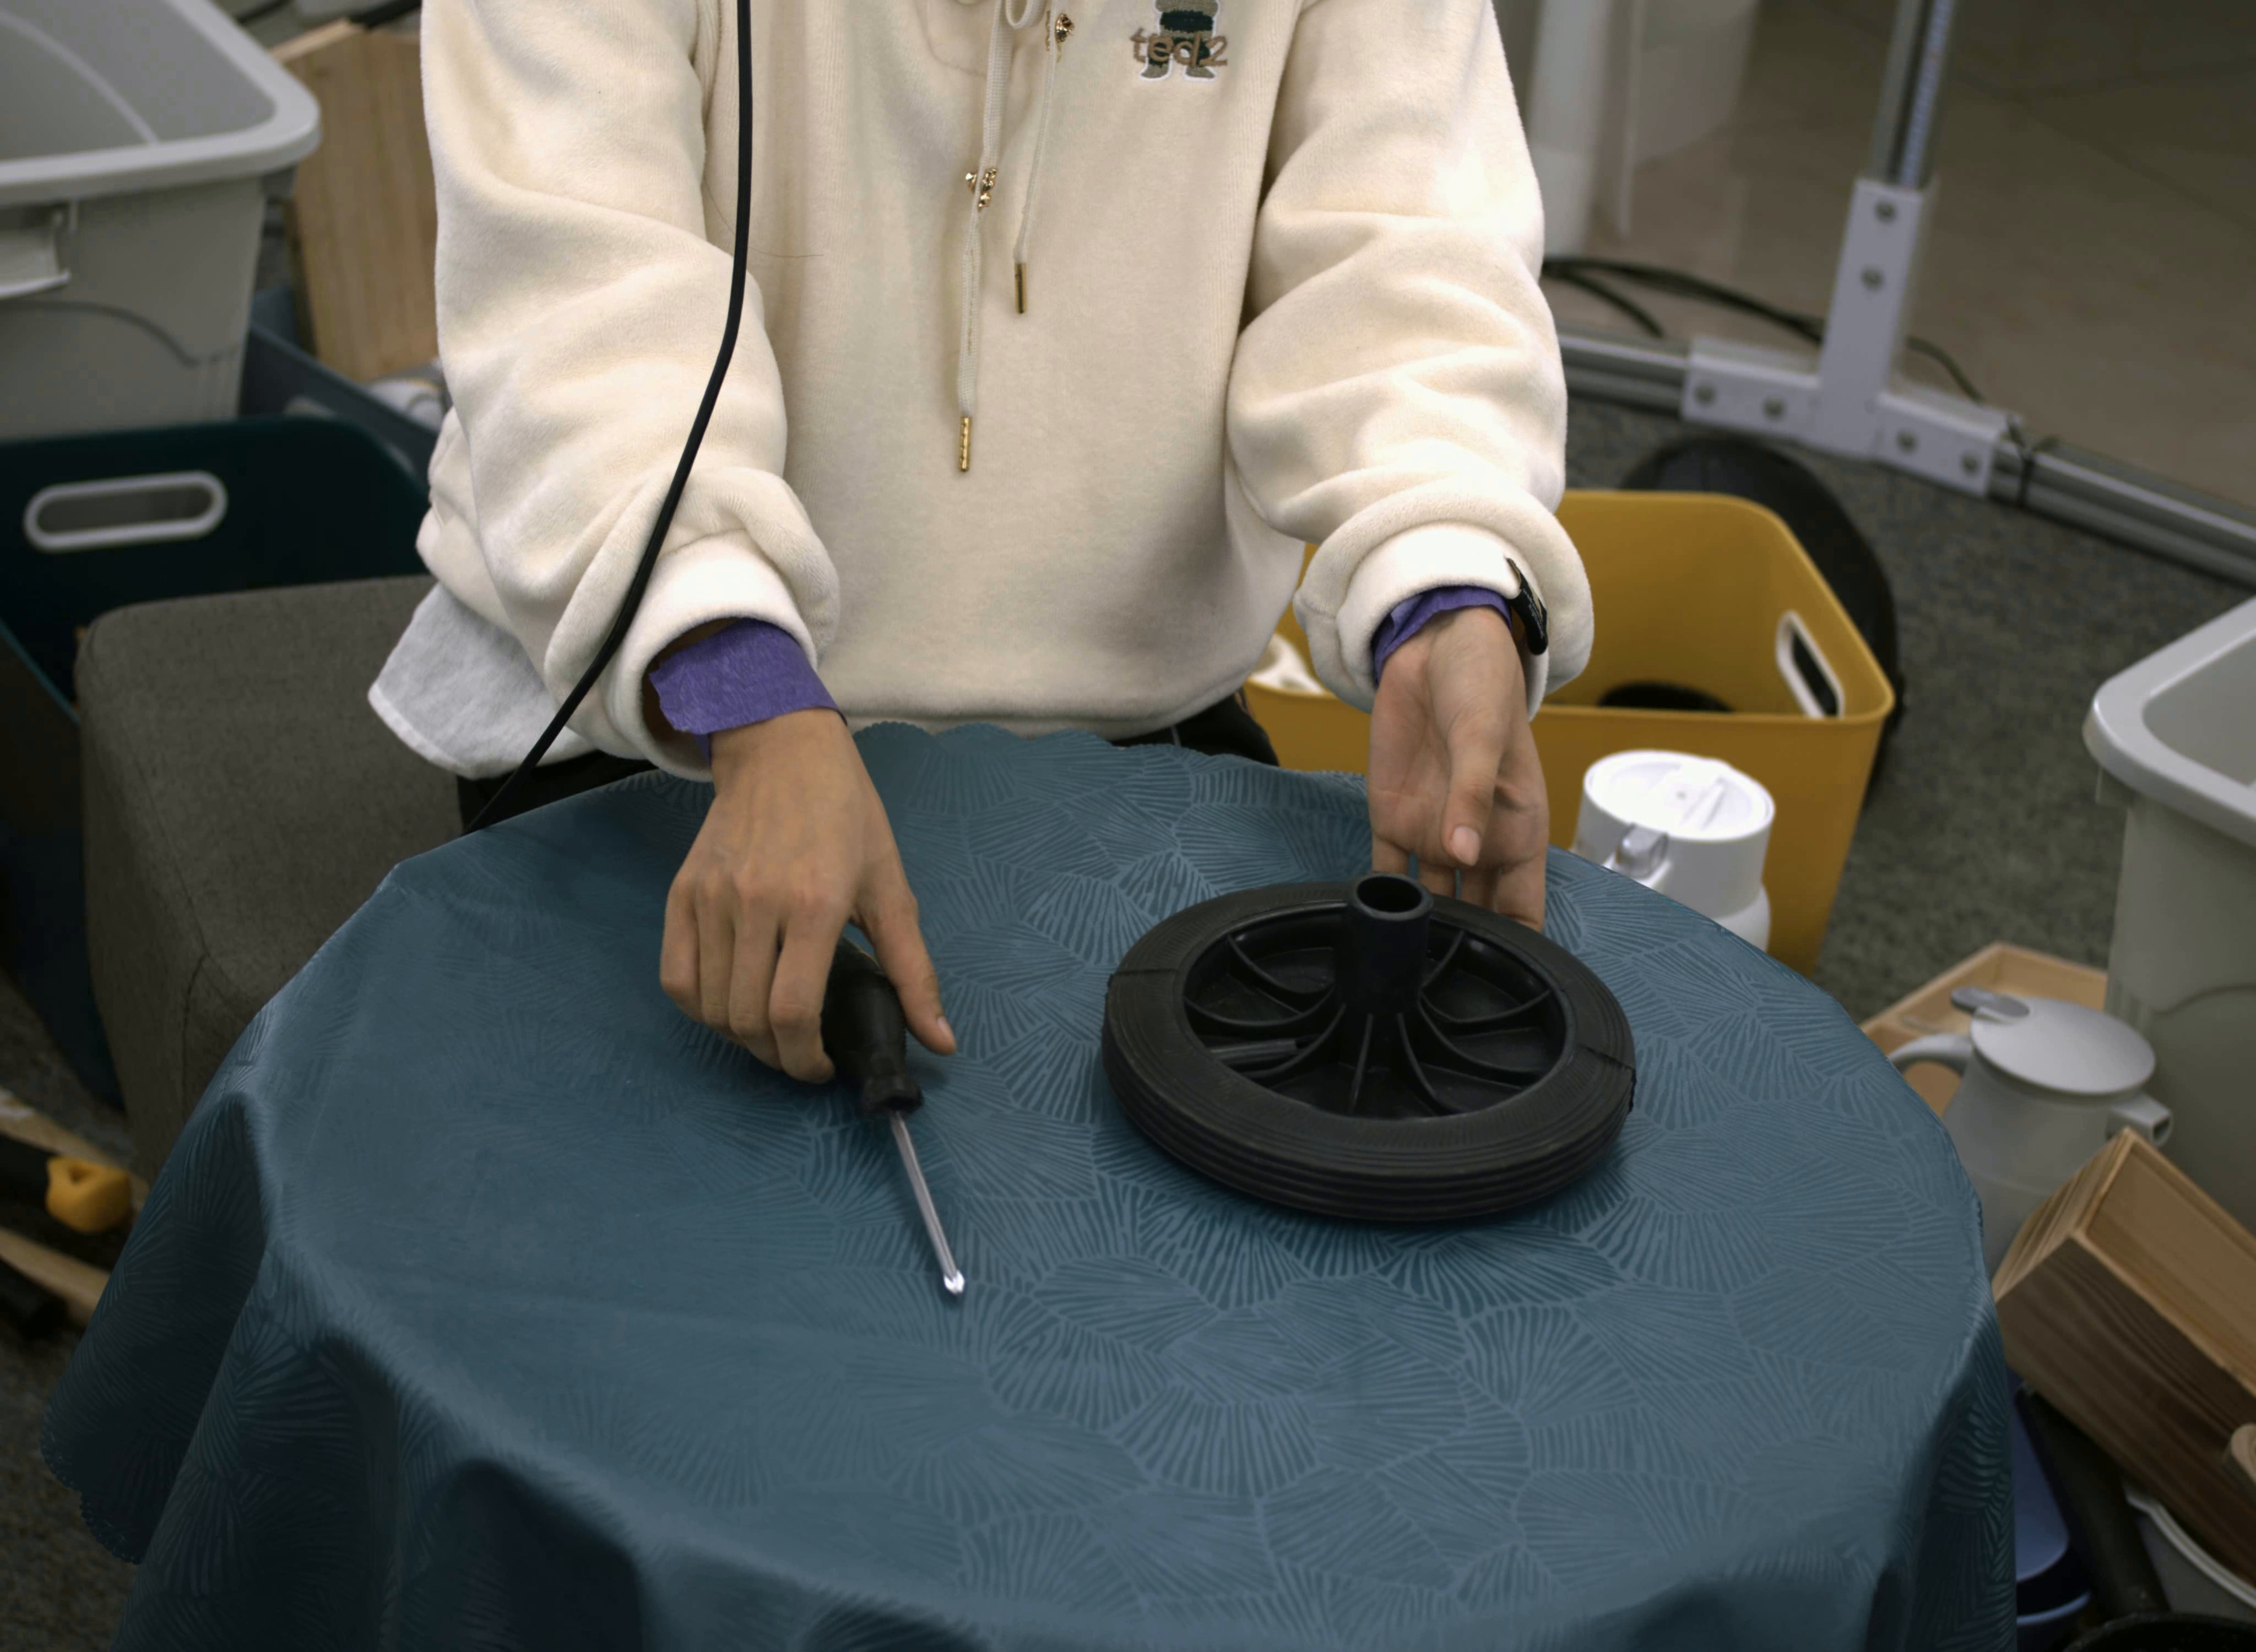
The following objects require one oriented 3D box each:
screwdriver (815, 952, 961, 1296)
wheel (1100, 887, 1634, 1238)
[{"bbox_3d":[-0.075,0.100,1.805,0.031,0.031,0.198,-2,30,-18],"label":"screwdriver"},{"bbox_3d":[0.085,0.063,1.856,0.189,0.079,0.189,-25,42,-36],"label":"wheel"}]
